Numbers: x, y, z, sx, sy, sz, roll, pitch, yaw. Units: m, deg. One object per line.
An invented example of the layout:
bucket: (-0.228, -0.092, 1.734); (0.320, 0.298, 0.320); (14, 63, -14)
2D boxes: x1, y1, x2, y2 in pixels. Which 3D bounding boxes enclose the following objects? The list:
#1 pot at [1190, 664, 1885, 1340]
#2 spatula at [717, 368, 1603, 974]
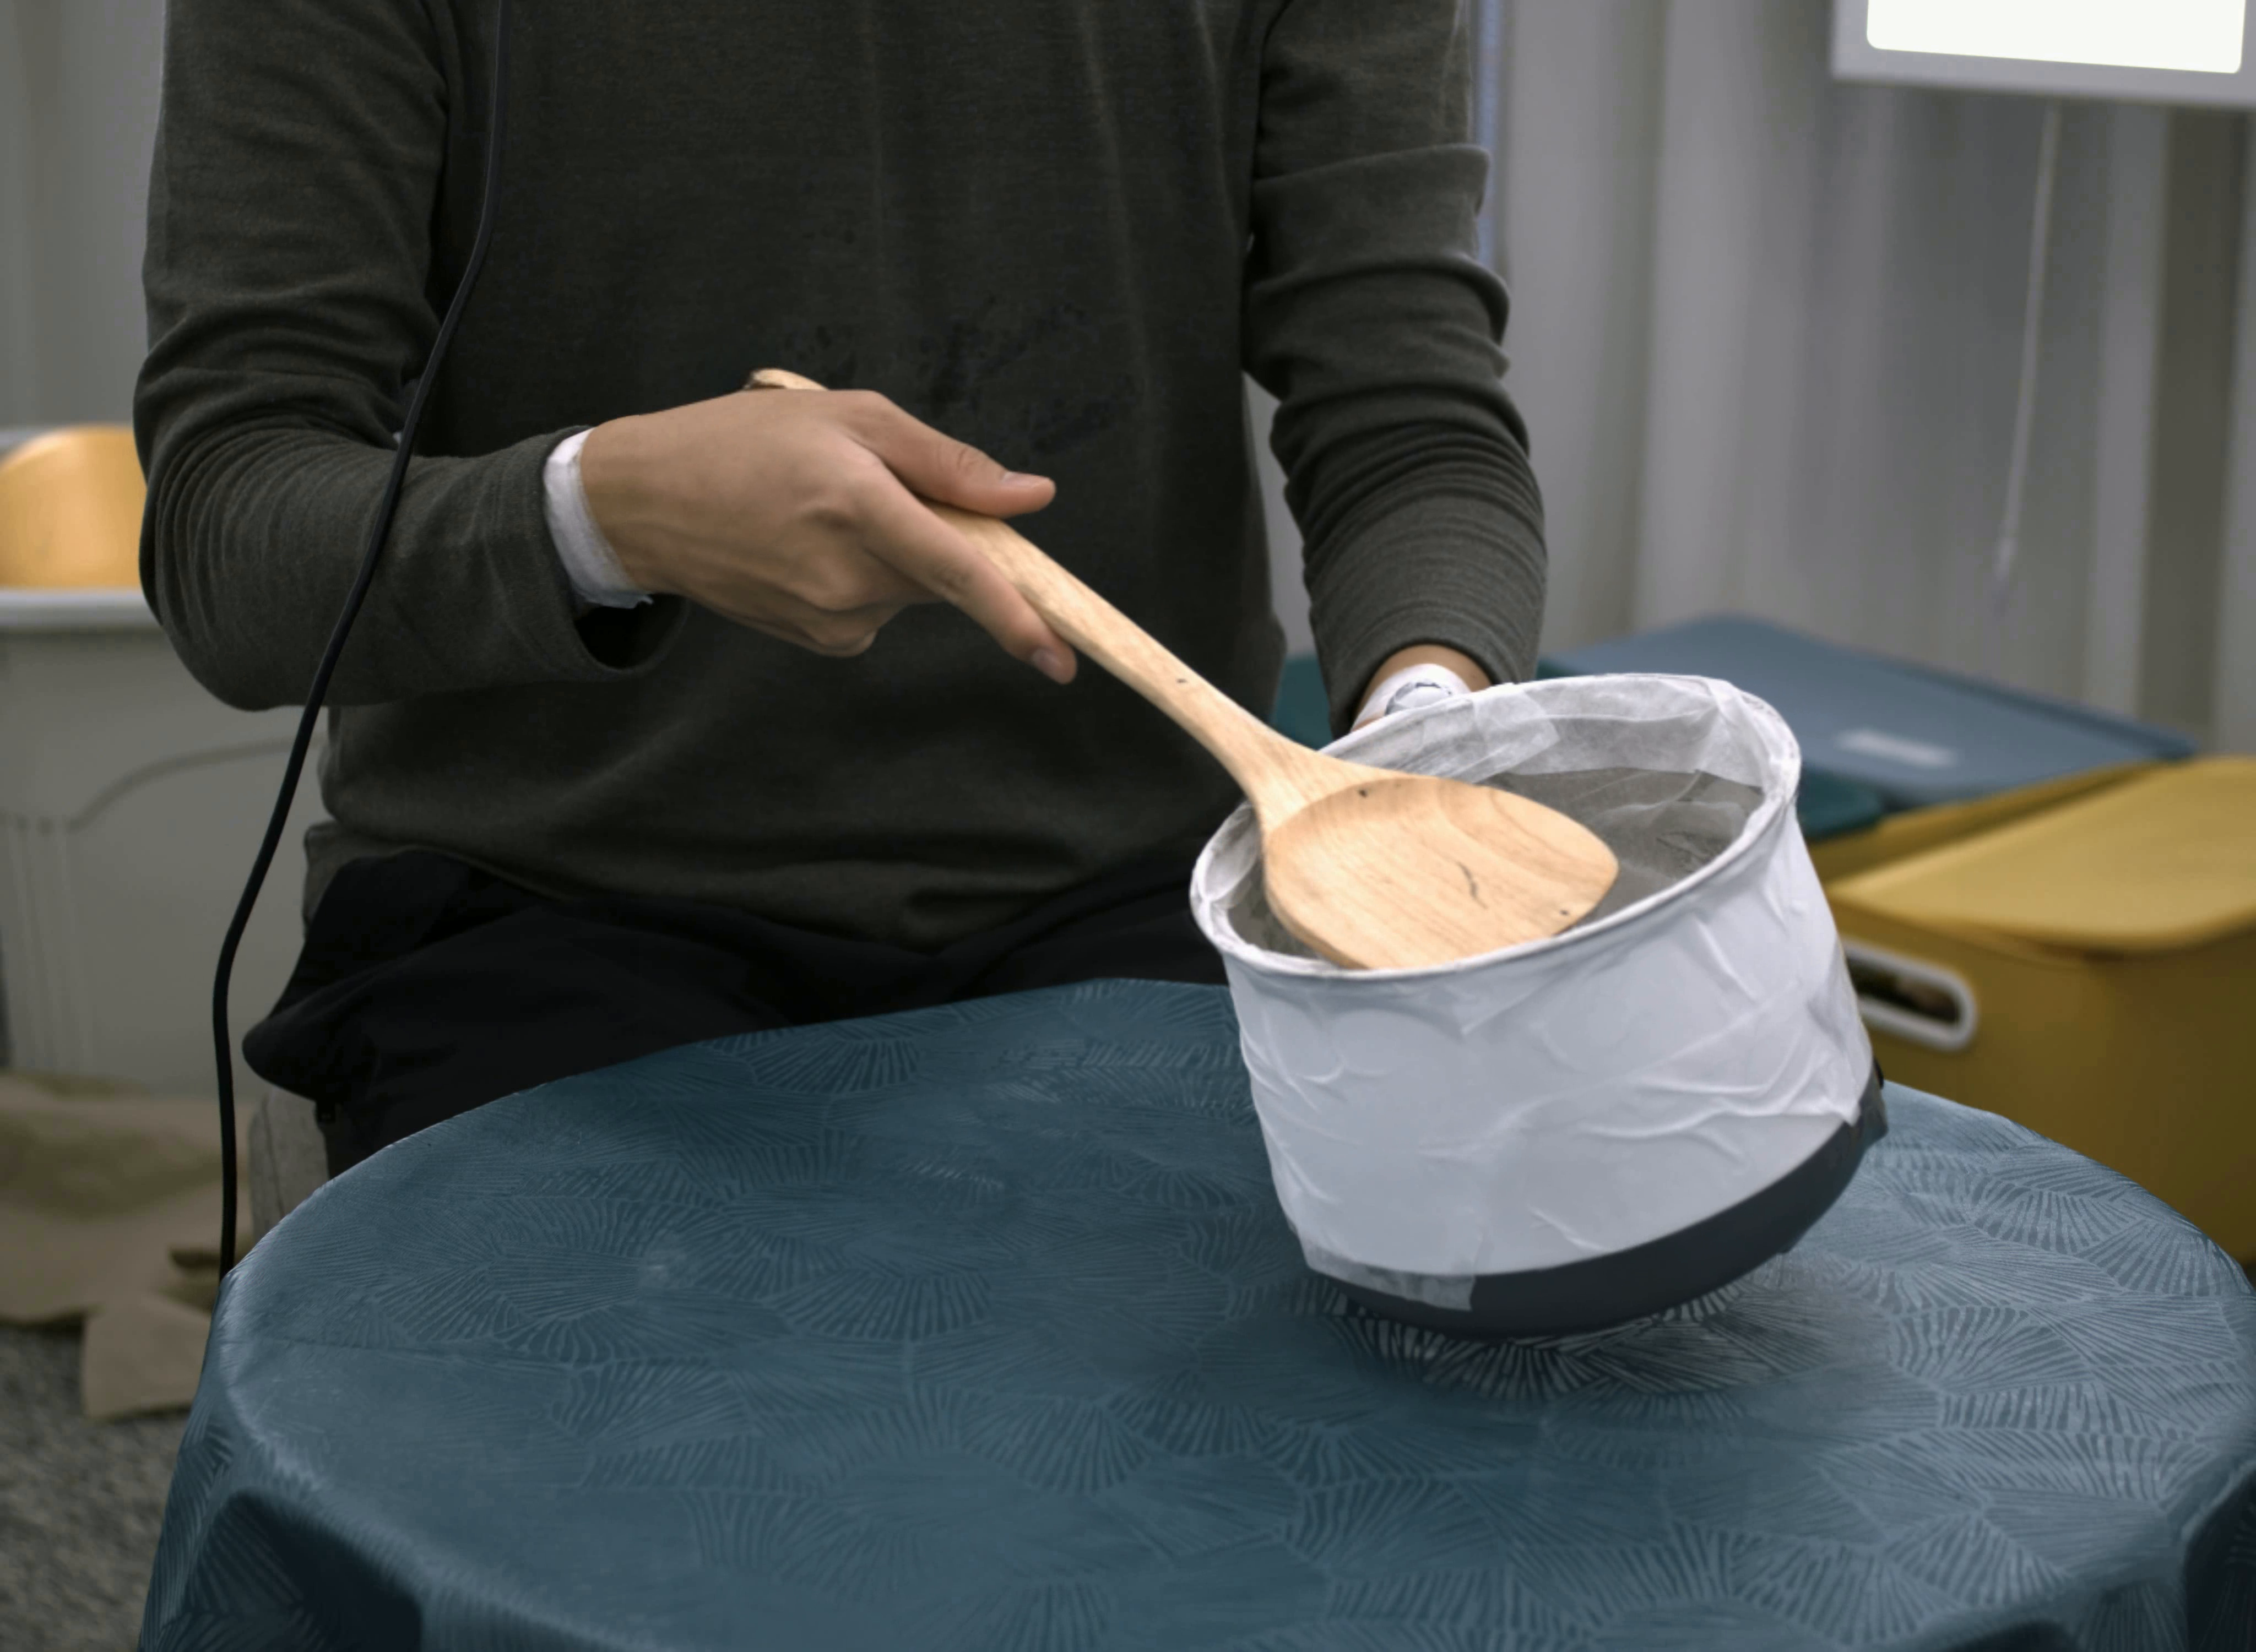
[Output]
pot: (0.113, 0.041, 1.524); (0.178, 0.138, 0.231); (-17, 25, -5)
spatula: (-0.012, -0.054, 1.557); (0.096, 0.018, 0.385); (-22, 42, -32)
